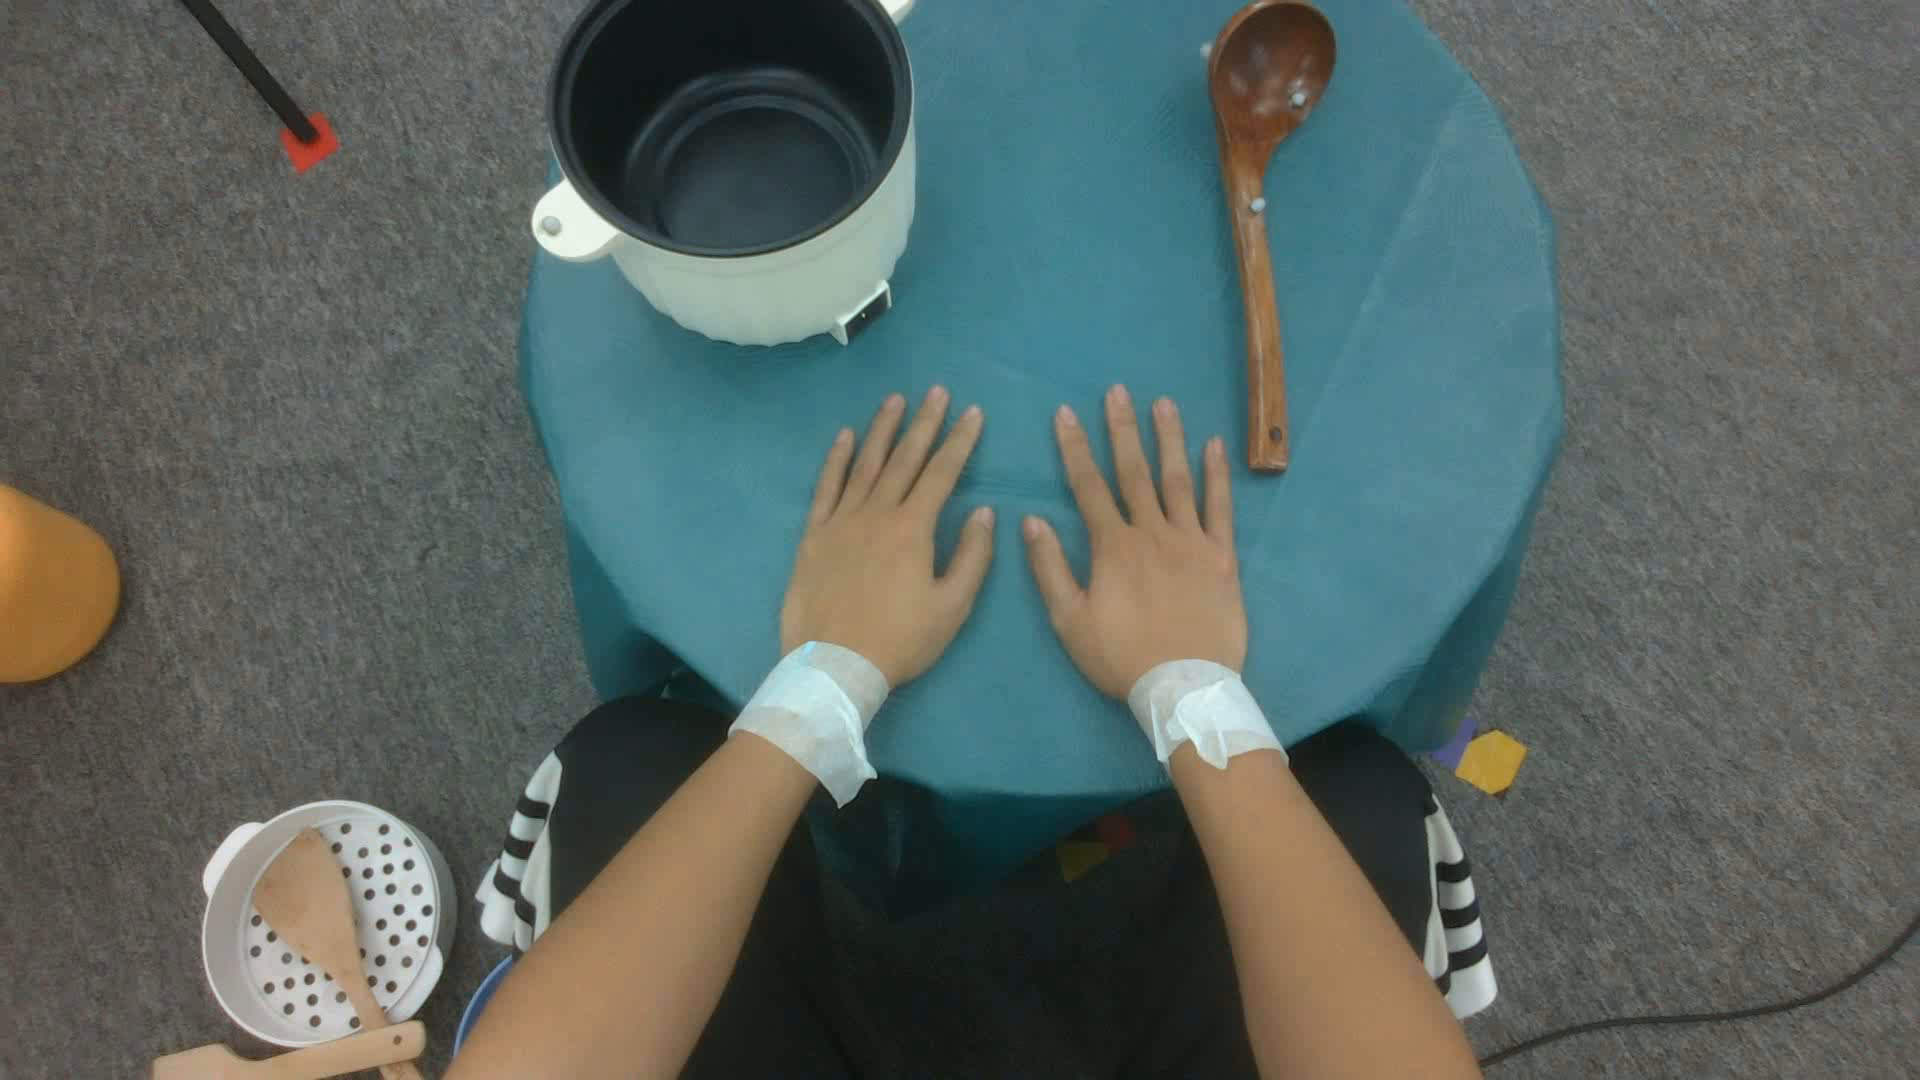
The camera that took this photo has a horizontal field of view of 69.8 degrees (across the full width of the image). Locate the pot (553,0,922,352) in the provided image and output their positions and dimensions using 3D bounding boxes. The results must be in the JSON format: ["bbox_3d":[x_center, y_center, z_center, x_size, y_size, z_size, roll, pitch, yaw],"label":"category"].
[{"bbox_3d":[-0.116,-0.203,0.765,0.241,0.142,0.190,-43,80,-13],"label":"pot"}]

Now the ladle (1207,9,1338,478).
[{"bbox_3d":[0.184,-0.174,0.786,0.082,0.076,0.275,9,69,-22],"label":"ladle"}]
